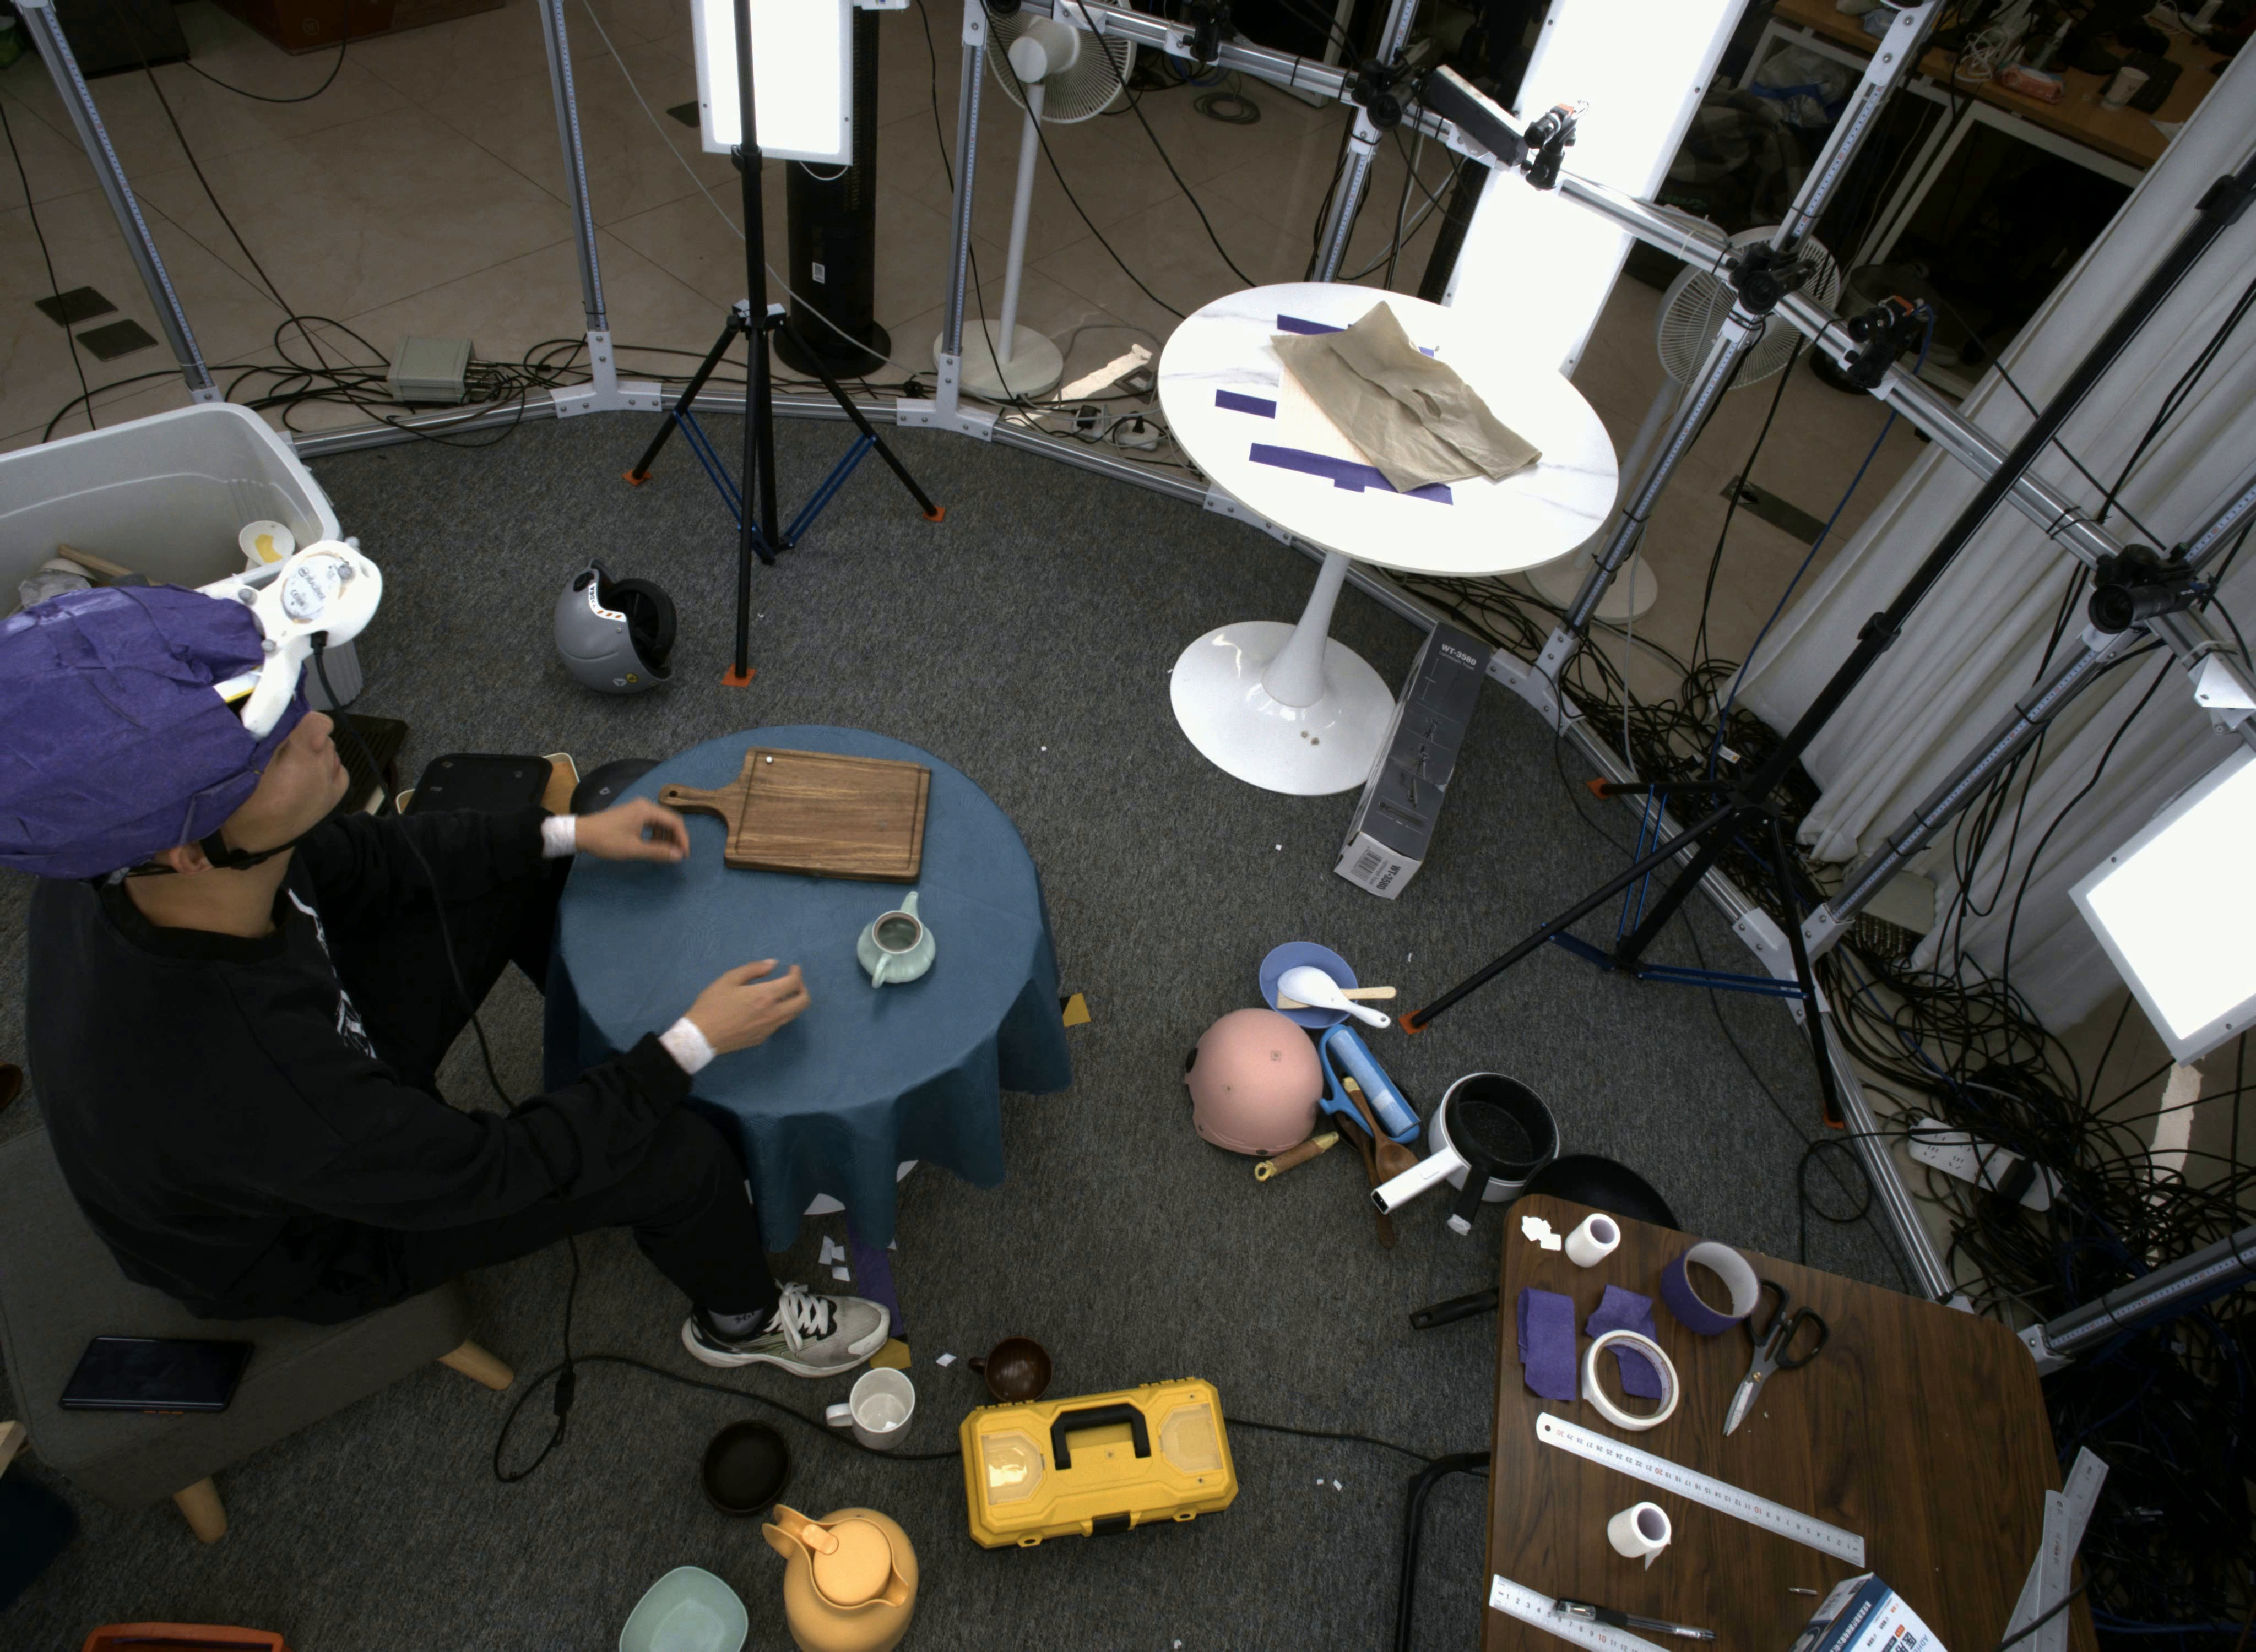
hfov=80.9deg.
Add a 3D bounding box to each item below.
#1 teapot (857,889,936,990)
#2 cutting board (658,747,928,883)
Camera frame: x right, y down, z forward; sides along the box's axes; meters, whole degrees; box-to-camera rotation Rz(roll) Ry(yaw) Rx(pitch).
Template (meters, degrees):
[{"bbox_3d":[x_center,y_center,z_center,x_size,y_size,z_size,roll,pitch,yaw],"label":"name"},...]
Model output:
[{"bbox_3d":[-0.287,0.147,1.608,0.095,0.062,0.135,17,51,-2],"label":"teapot"},{"bbox_3d":[-0.444,-0.021,1.718,0.352,0.023,0.197,5,53,-11],"label":"cutting board"}]
